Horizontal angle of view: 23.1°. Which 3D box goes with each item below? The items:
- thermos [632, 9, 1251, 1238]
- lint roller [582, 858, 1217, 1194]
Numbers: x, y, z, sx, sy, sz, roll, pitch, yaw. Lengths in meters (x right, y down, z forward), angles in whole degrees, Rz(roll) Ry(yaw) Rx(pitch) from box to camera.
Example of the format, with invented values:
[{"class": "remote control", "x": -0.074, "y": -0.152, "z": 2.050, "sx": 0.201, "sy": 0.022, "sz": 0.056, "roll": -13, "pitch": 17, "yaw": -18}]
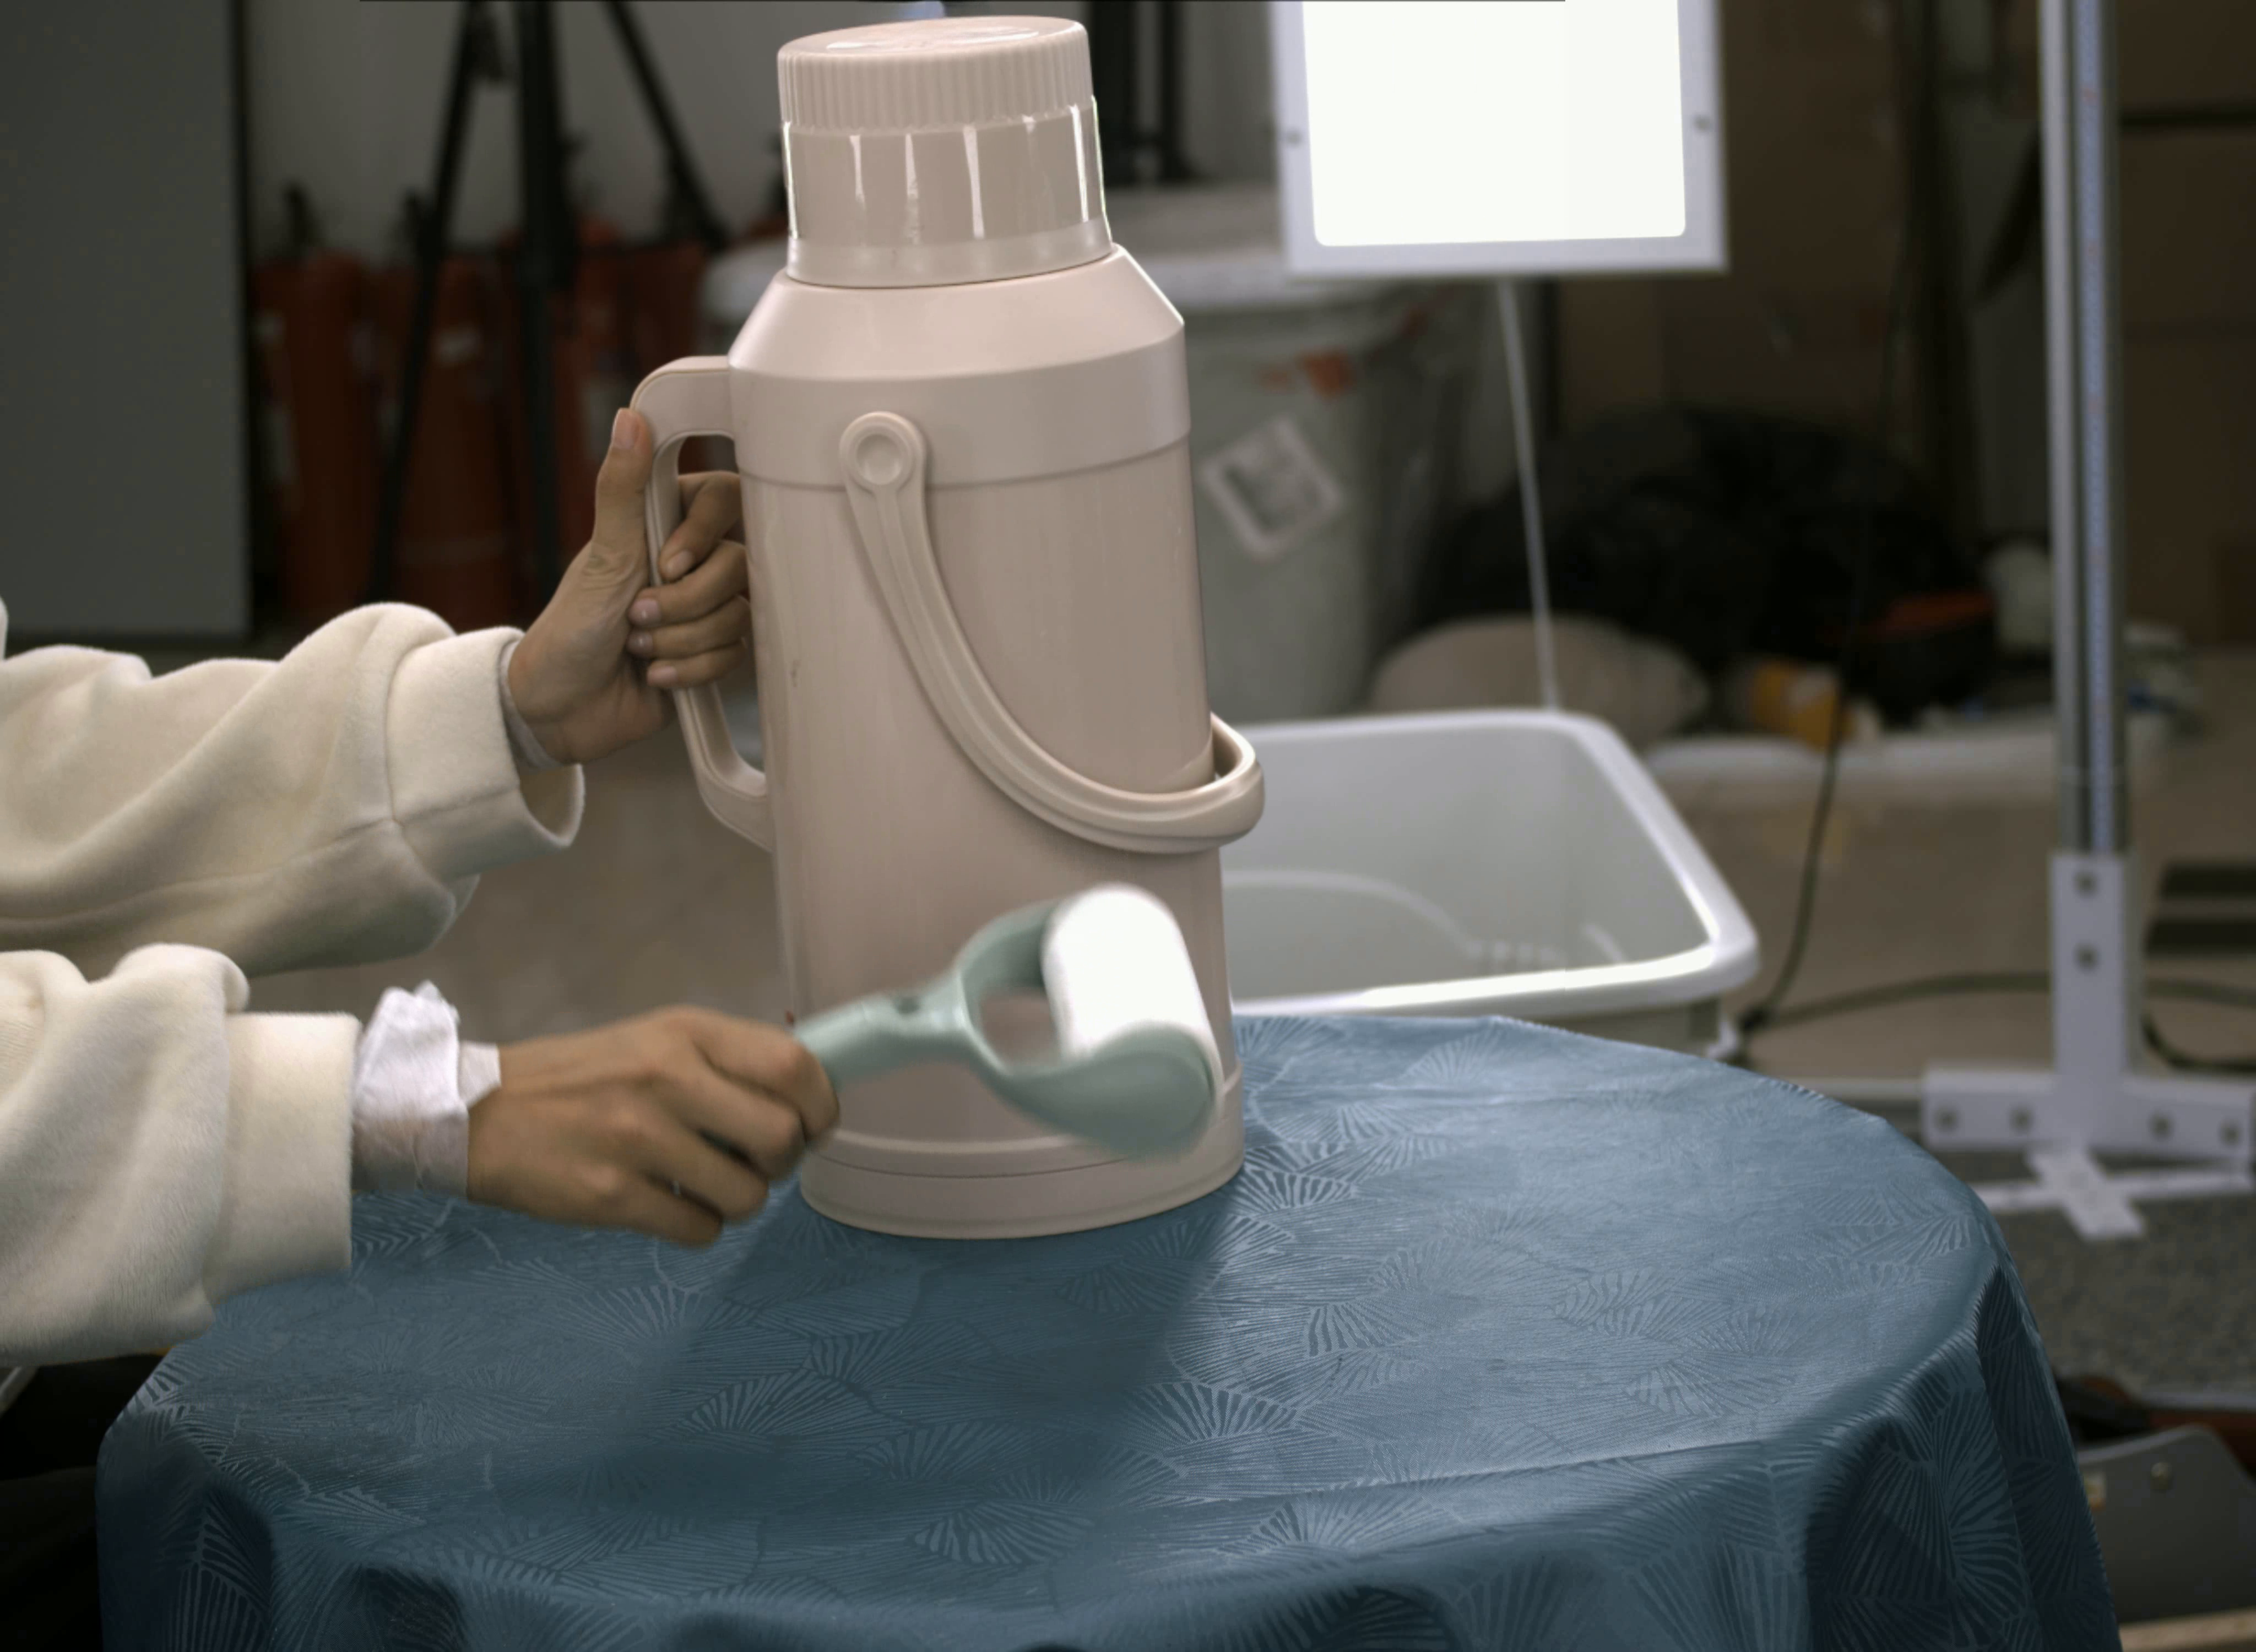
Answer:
[{"class": "thermos", "x": -0.064, "y": -0.071, "z": 1.893, "sx": 0.209, "sy": 0.408, "sz": 0.172, "roll": 0, "pitch": 15, "yaw": 18}, {"class": "lint roller", "x": -0.074, "y": 0.067, "z": 1.693, "sx": 0.197, "sy": 0.048, "sz": 0.116, "roll": -13, "pitch": 25, "yaw": 1}]
